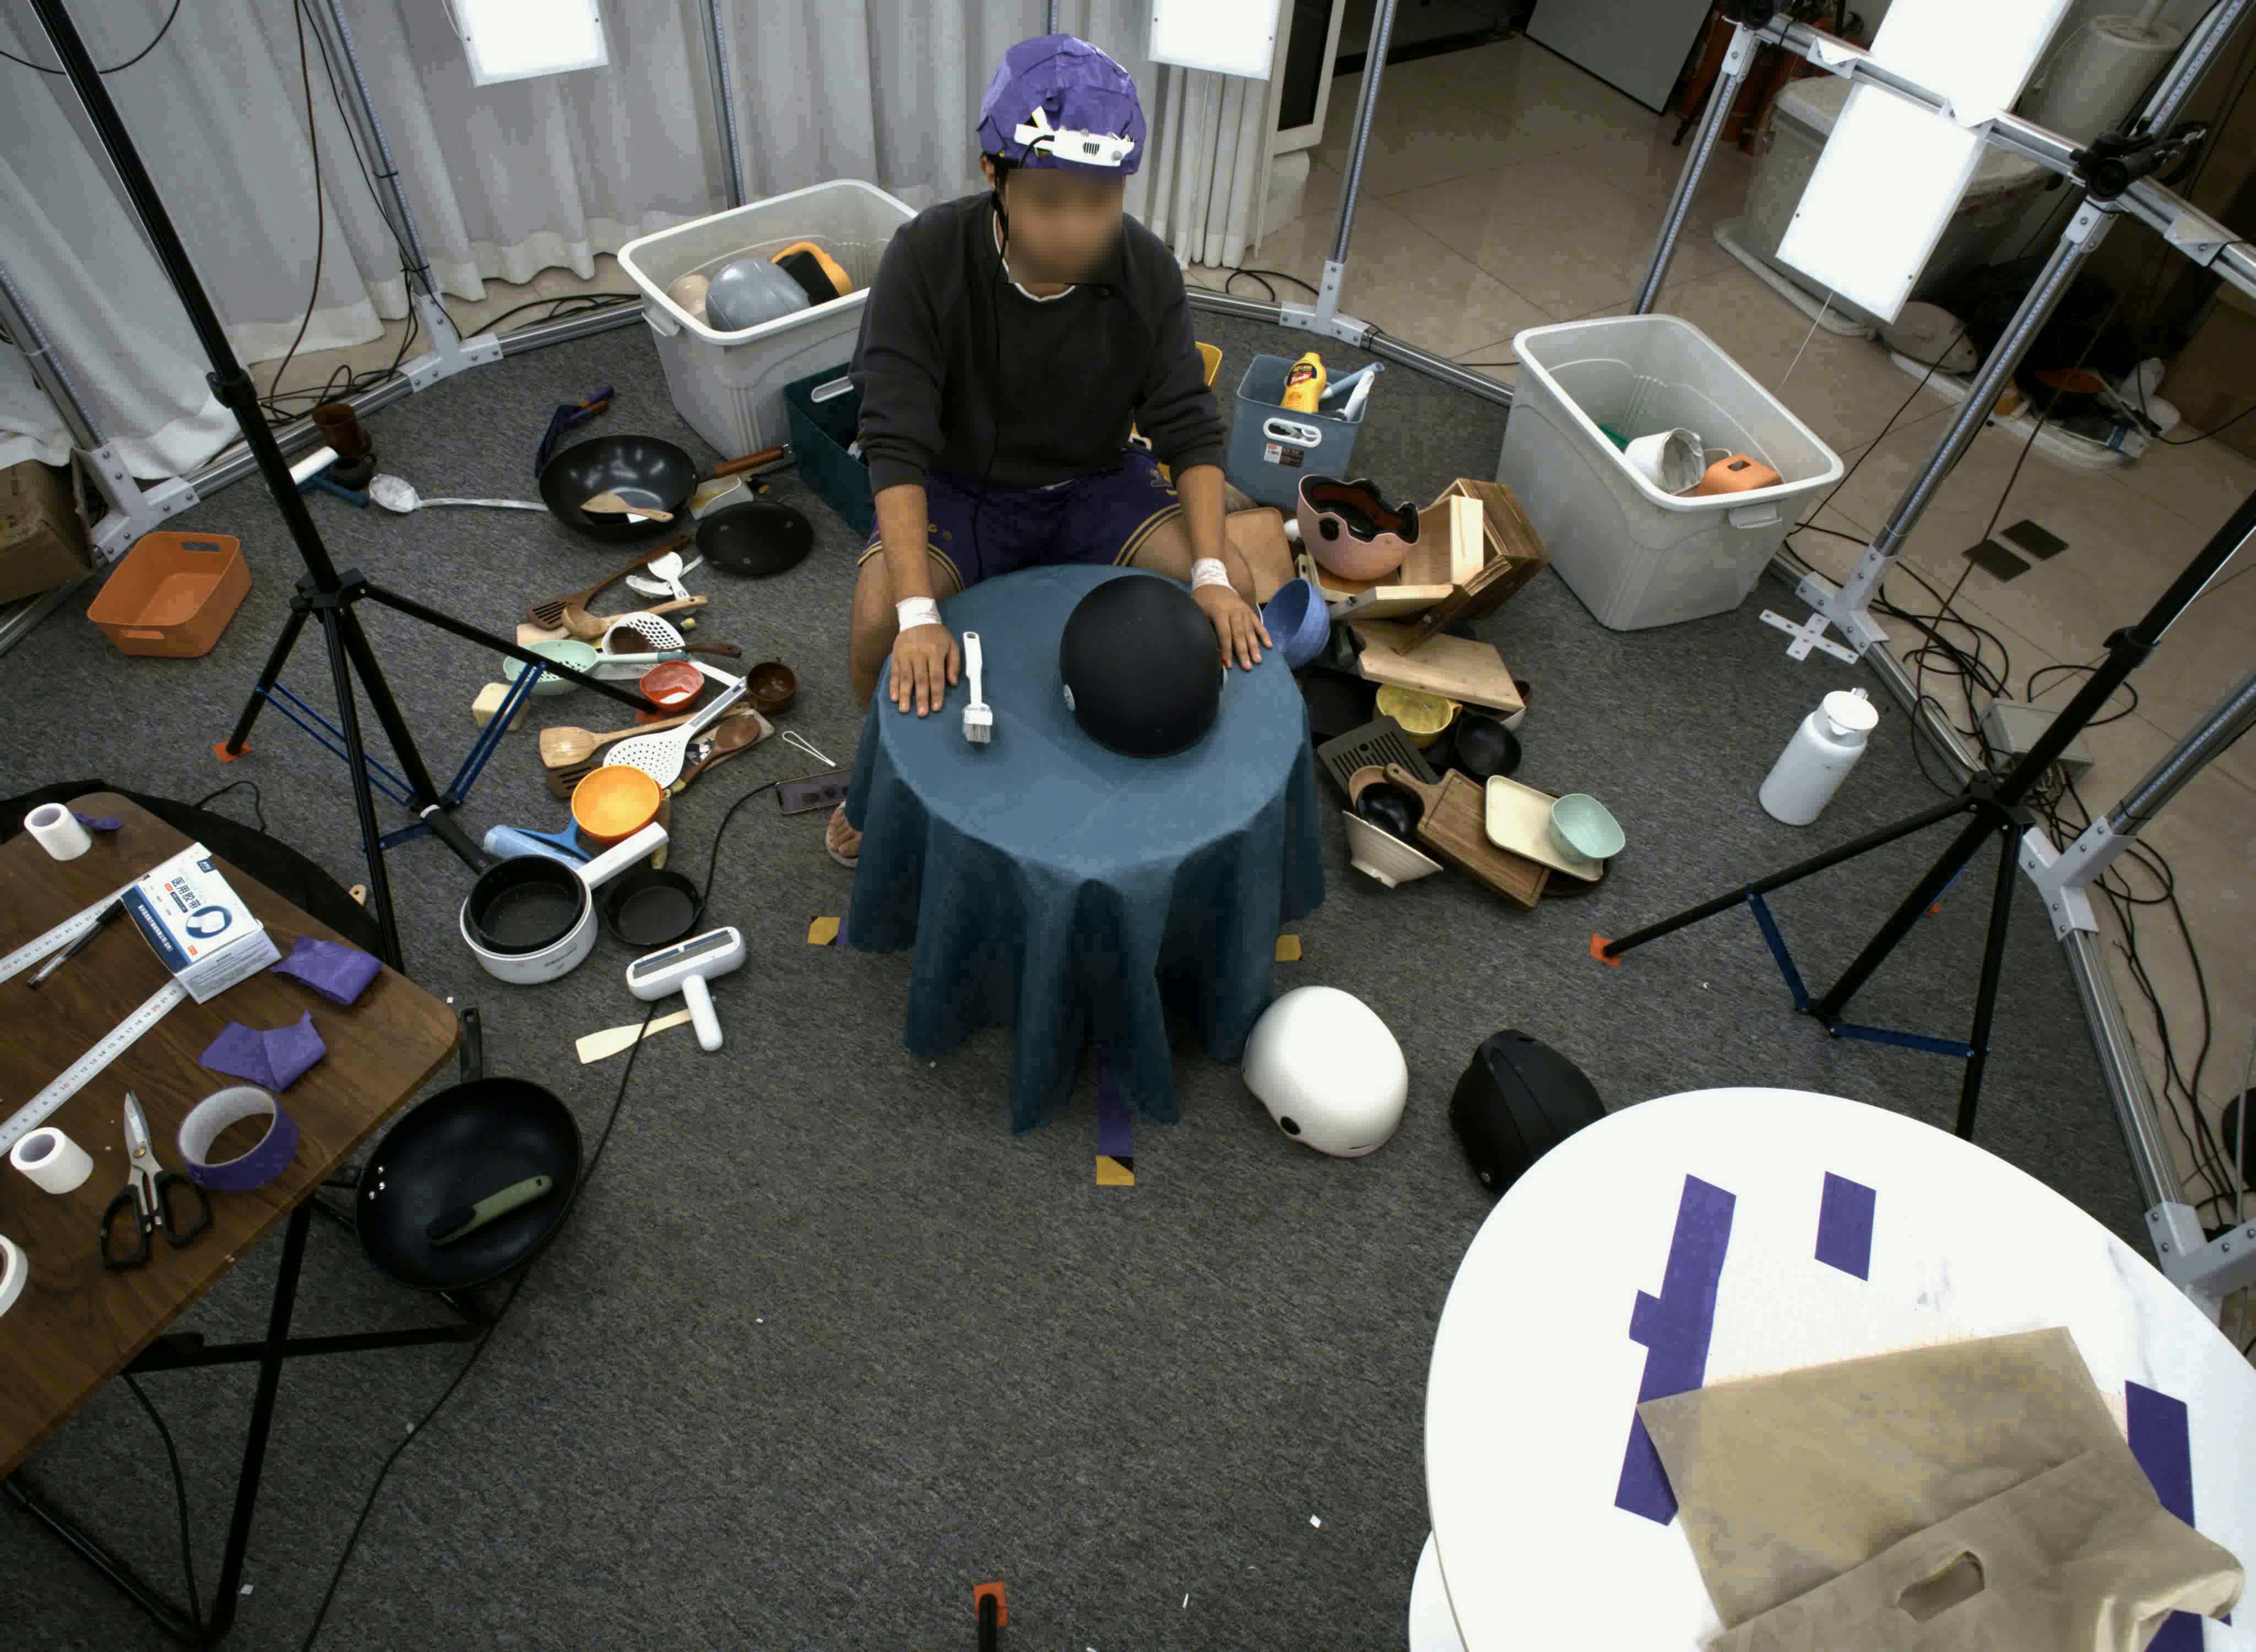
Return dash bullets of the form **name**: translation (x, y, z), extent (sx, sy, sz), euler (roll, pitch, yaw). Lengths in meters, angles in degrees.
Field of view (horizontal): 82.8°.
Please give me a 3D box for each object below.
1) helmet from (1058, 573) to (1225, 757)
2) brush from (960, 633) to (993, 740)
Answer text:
- **helmet**: translation (0.017, -0.244, 1.778), extent (0.230, 0.163, 0.280), euler (-7, 52, -6)
- **brush**: translation (-0.217, -0.195, 1.805), extent (0.034, 0.049, 0.249), euler (2, 36, -14)
